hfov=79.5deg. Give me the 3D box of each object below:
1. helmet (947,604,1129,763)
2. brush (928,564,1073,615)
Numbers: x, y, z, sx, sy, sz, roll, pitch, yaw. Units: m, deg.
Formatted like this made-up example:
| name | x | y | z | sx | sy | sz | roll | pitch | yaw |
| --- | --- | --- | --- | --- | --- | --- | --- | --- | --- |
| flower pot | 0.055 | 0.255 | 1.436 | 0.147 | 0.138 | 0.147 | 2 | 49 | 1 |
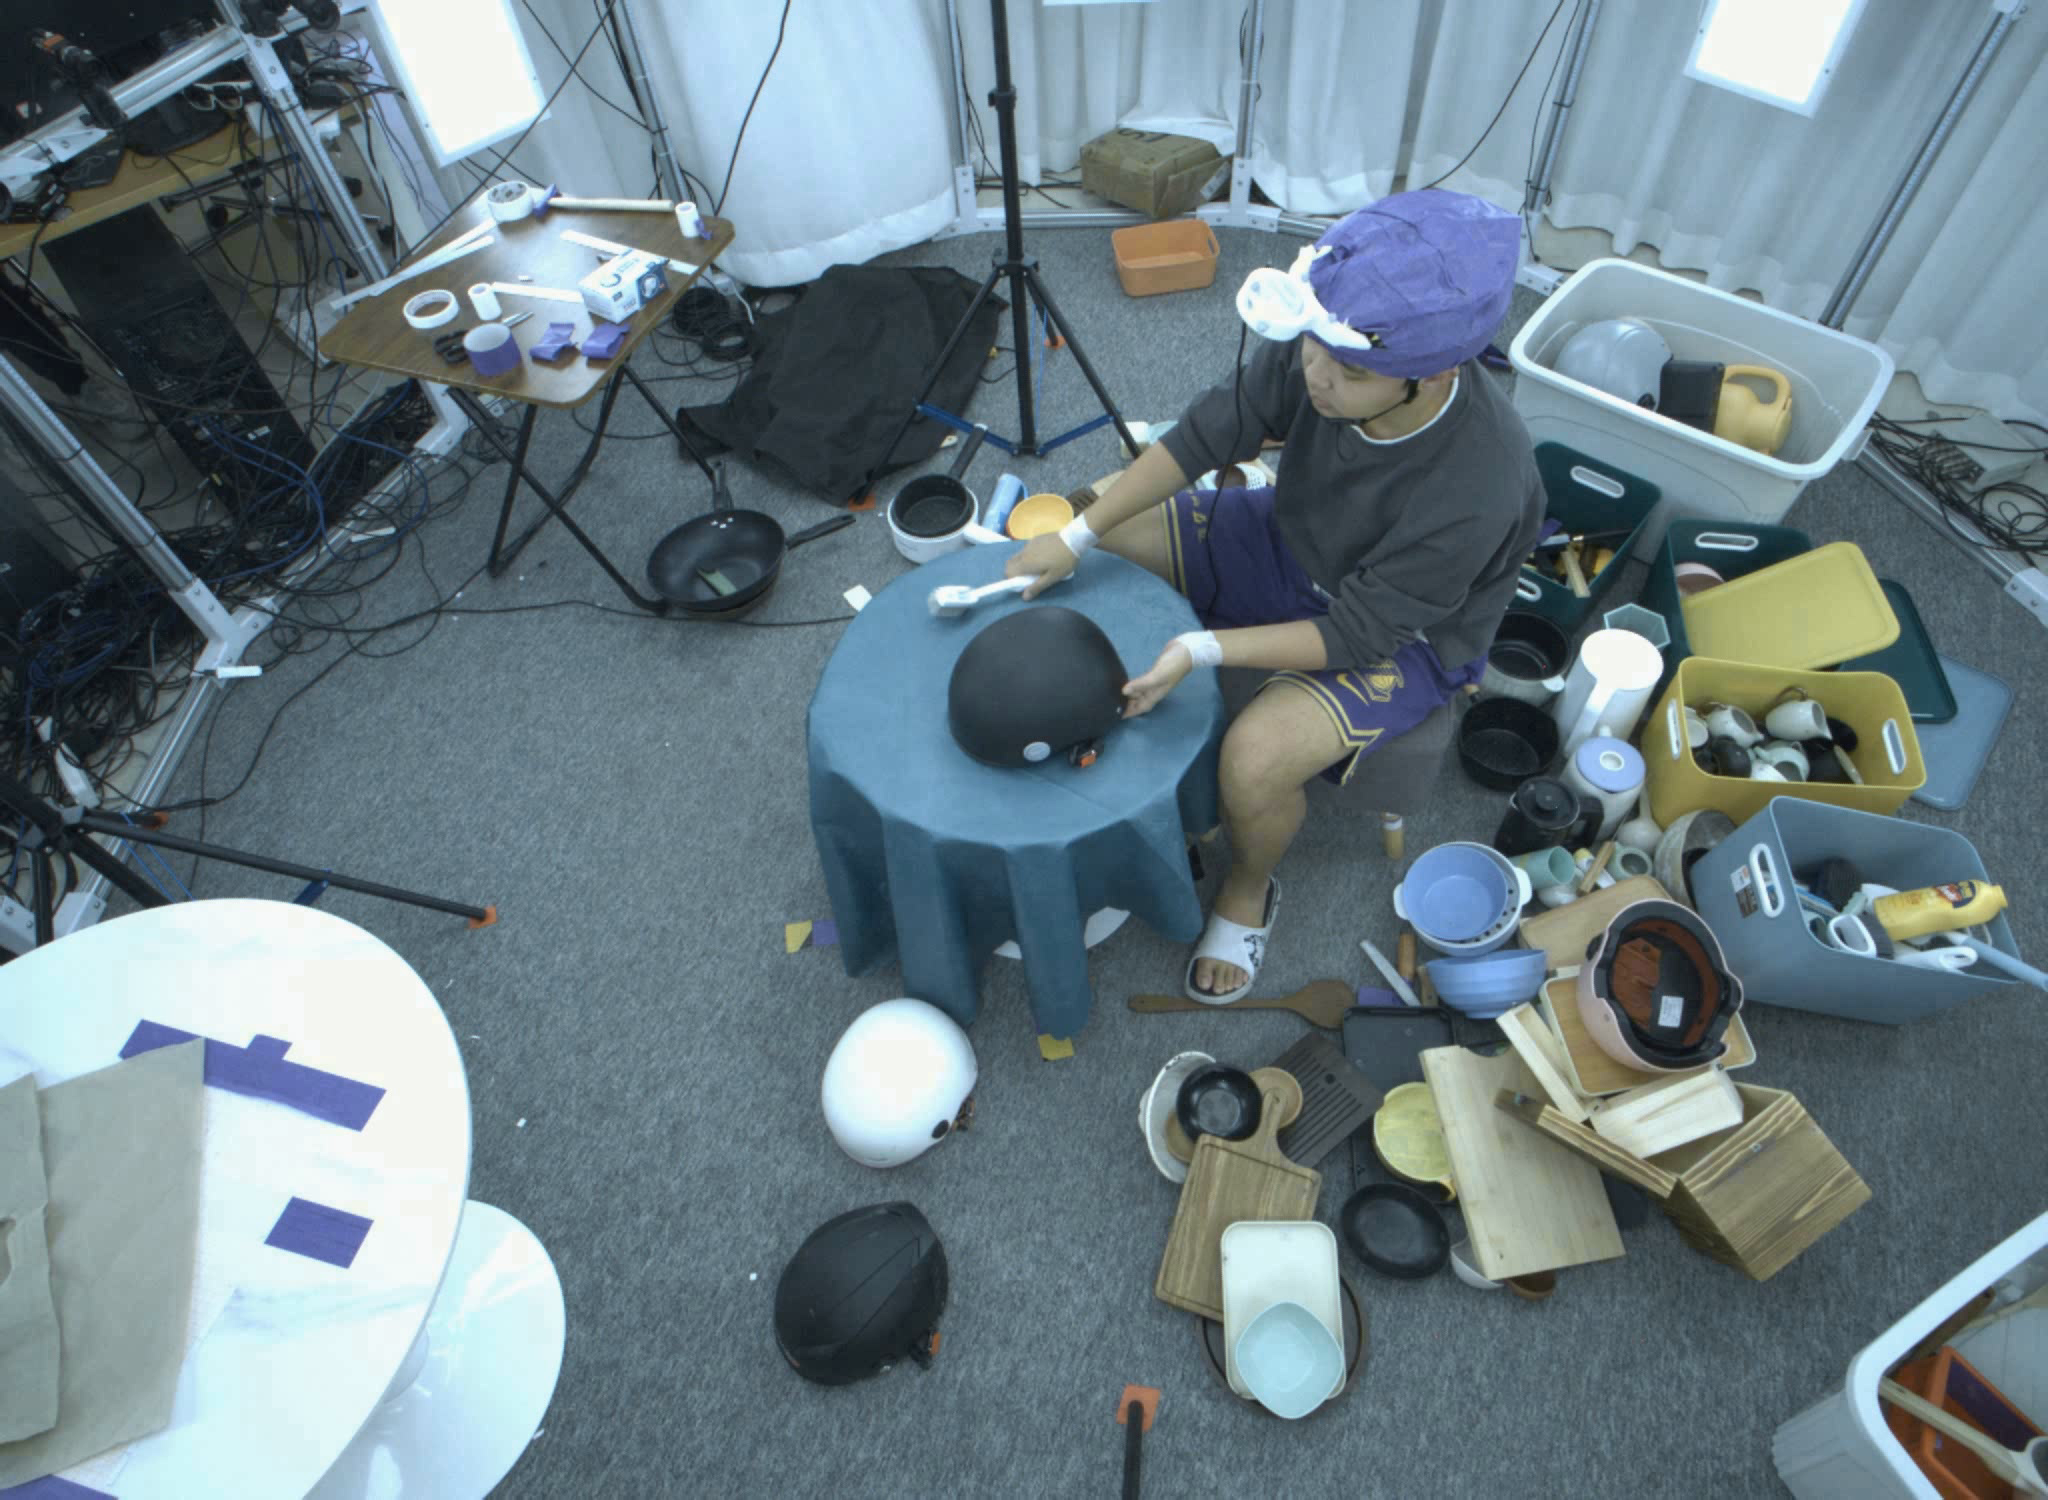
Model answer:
| name | x | y | z | sx | sy | sz | roll | pitch | yaw |
| --- | --- | --- | --- | --- | --- | --- | --- | --- | --- |
| helmet | 0.013 | -0.112 | 1.772 | 0.274 | 0.169 | 0.226 | -18 | 52 | -8 |
| brush | -0.037 | -0.256 | 1.960 | 0.247 | 0.050 | 0.034 | -15 | 67 | -24 |
